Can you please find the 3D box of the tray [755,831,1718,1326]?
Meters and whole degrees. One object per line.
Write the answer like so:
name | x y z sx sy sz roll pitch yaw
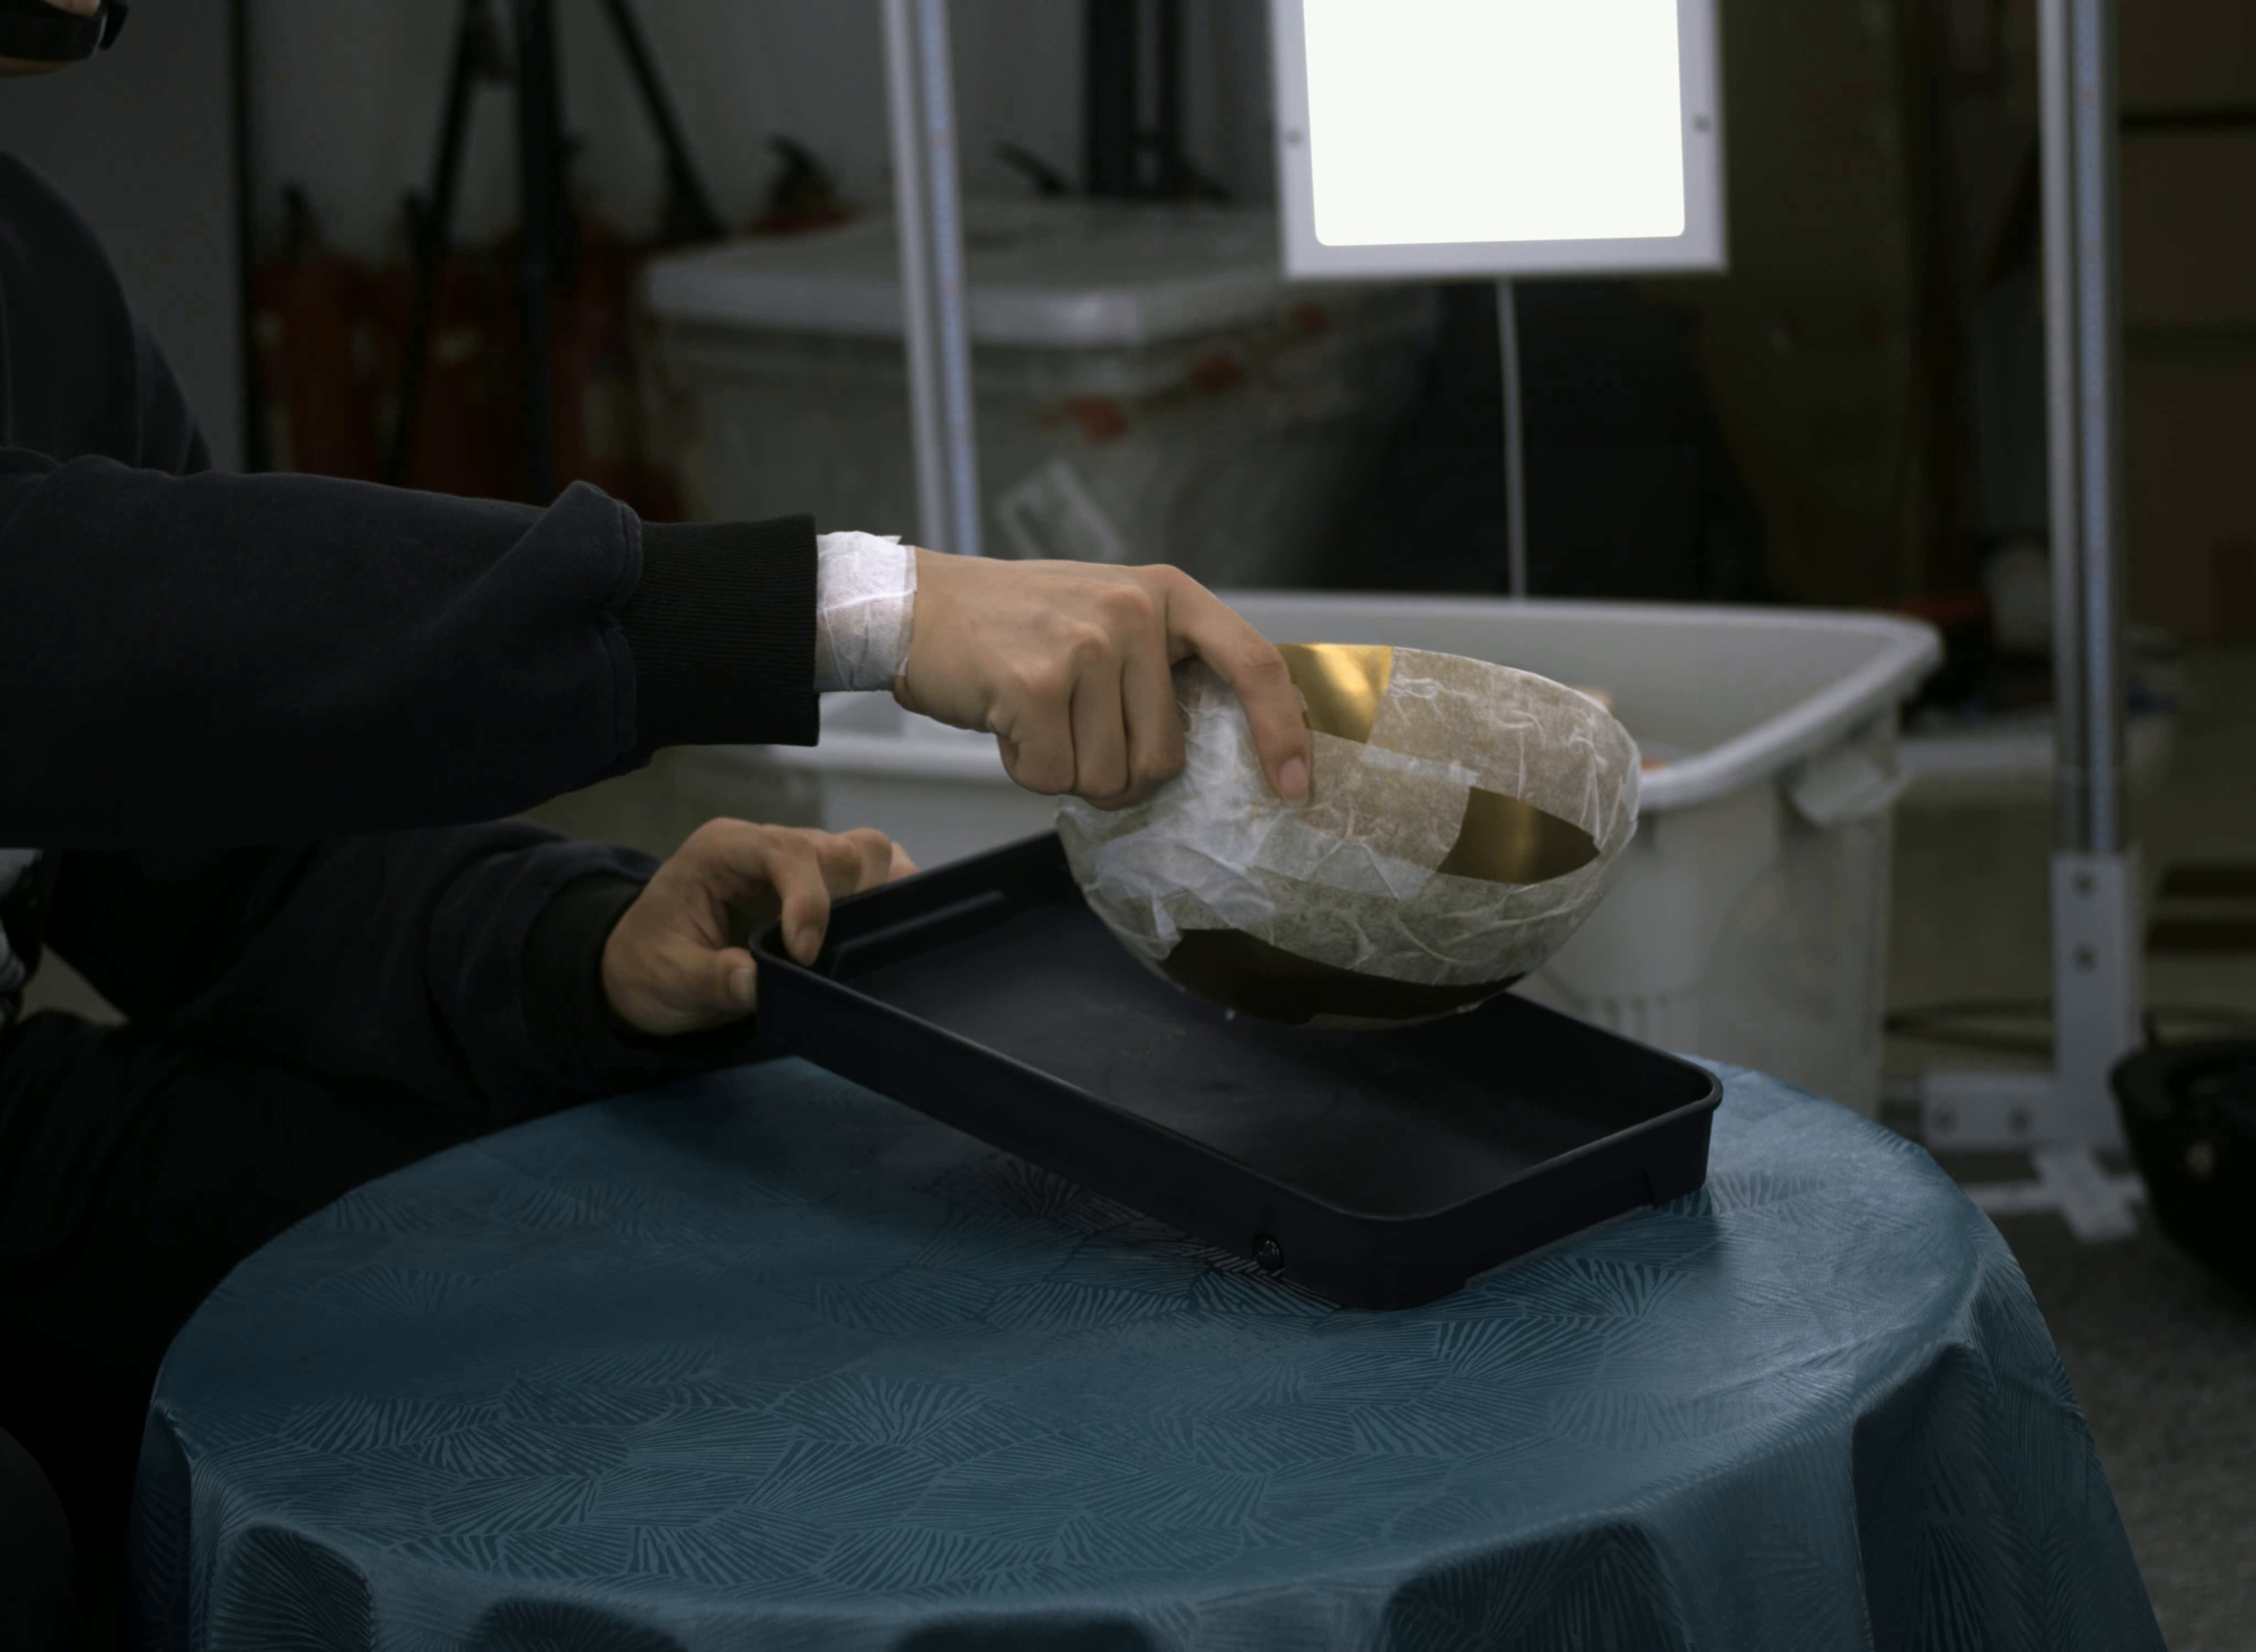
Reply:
tray | 0.033 0.080 1.898 0.179 0.037 0.324 -16 29 -40

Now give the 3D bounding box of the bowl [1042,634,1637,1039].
bowl | 0.068 0.018 1.857 0.214 0.094 0.215 3 -20 0
